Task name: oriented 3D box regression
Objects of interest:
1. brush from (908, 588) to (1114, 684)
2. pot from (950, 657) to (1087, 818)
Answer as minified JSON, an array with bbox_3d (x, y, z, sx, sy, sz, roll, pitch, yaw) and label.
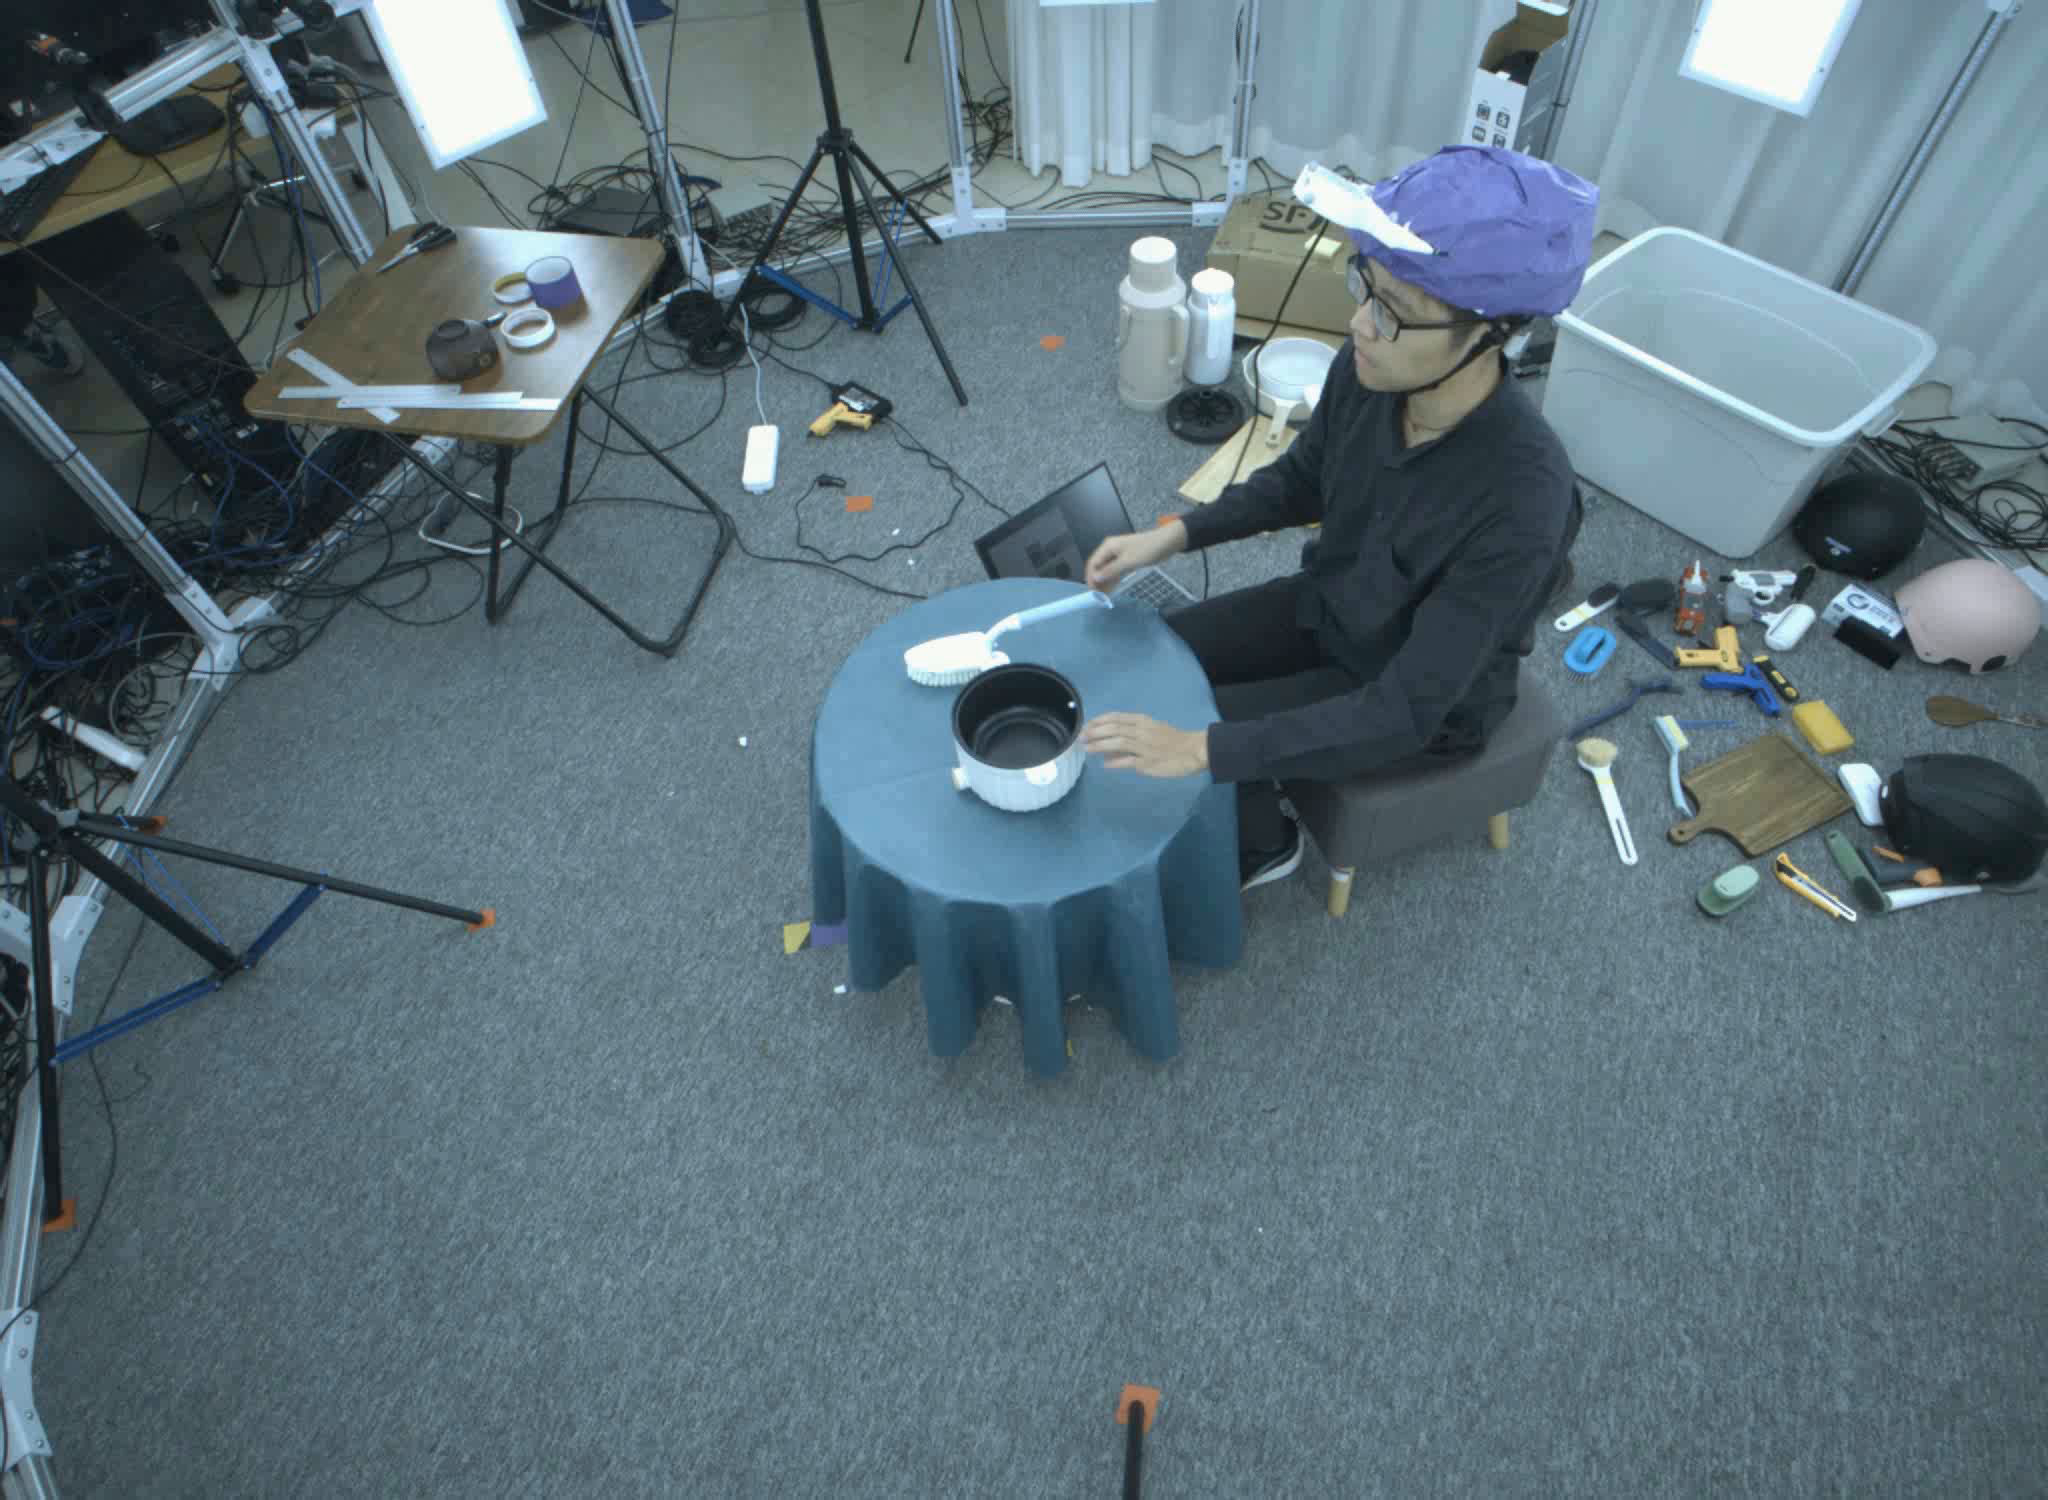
[{"bbox_3d":[-0.015,-0.161,1.850,0.324,0.085,0.083,-16,90,5],"label":"brush"},{"bbox_3d":[-0.010,0.001,1.695,0.192,0.144,0.236,-17,54,-12],"label":"pot"}]
